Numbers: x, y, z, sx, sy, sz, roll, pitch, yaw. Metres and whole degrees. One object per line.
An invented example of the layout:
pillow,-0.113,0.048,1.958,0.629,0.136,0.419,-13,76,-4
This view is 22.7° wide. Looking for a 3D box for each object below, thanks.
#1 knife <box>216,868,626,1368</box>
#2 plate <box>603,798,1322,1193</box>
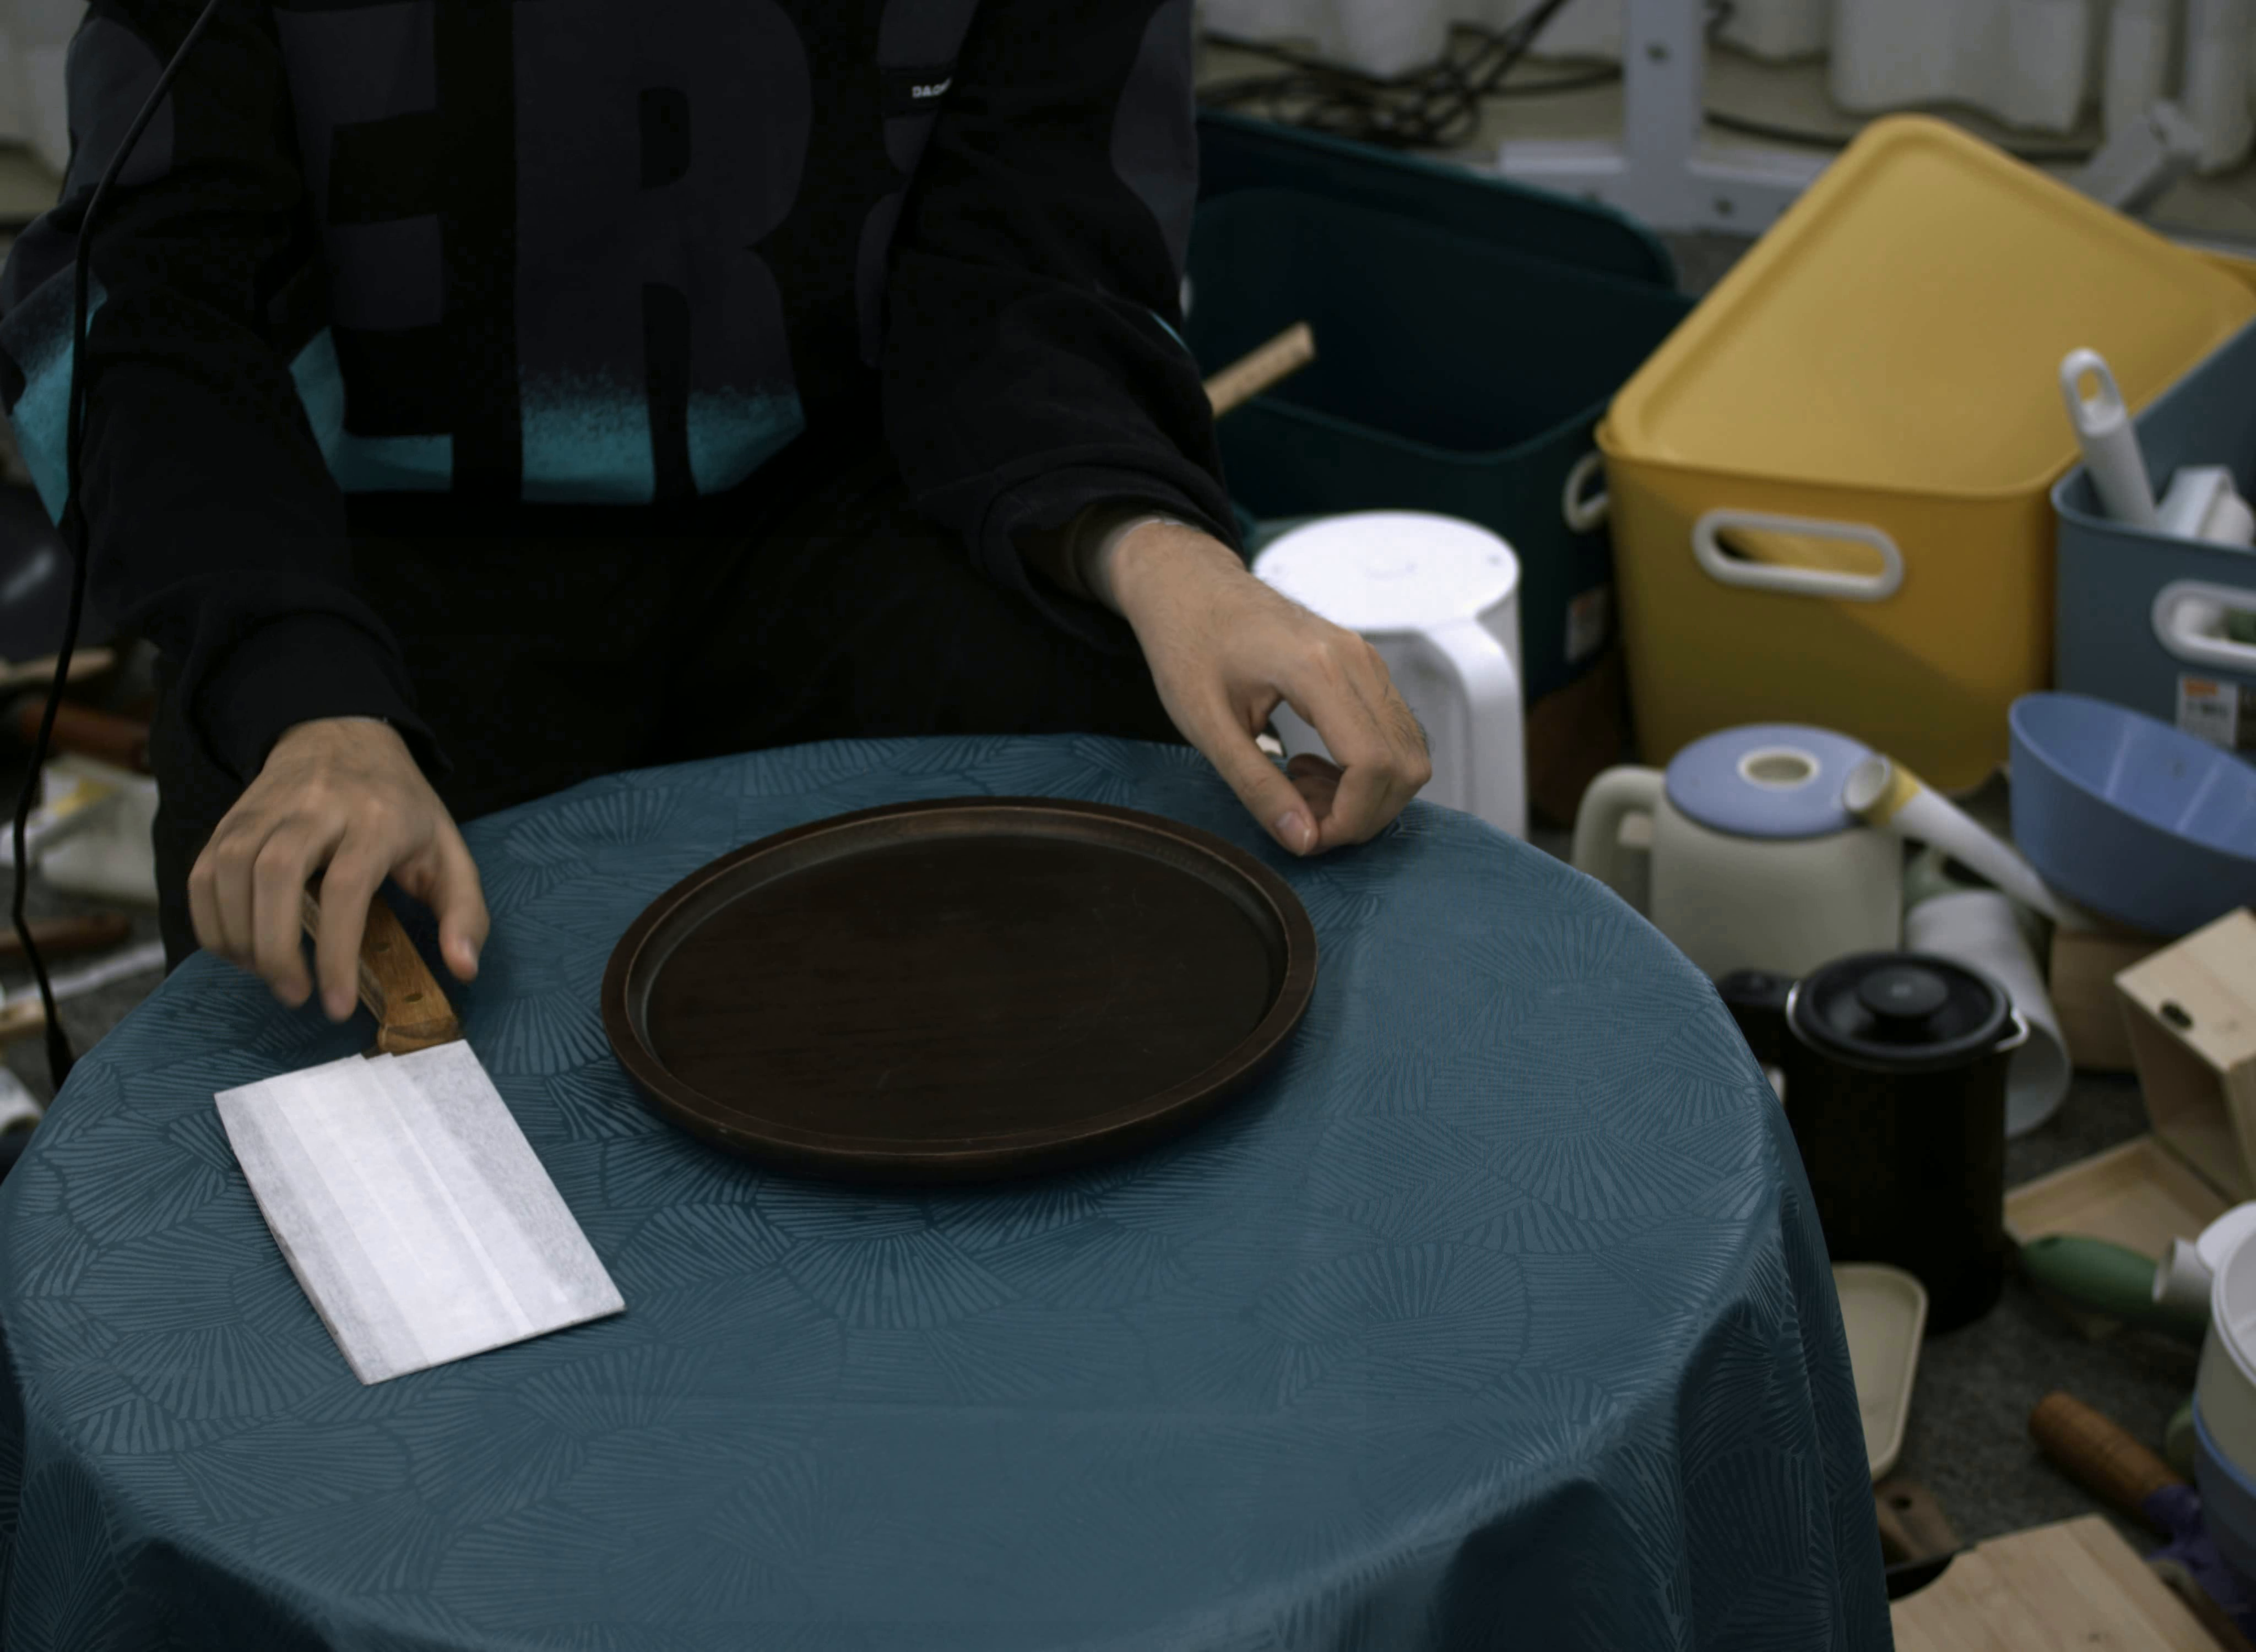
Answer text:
knife,-0.258,0.099,1.916,0.093,0.021,0.308,-14,32,-18
plate,-0.058,0.057,1.964,0.253,0.029,0.259,-1,27,1
